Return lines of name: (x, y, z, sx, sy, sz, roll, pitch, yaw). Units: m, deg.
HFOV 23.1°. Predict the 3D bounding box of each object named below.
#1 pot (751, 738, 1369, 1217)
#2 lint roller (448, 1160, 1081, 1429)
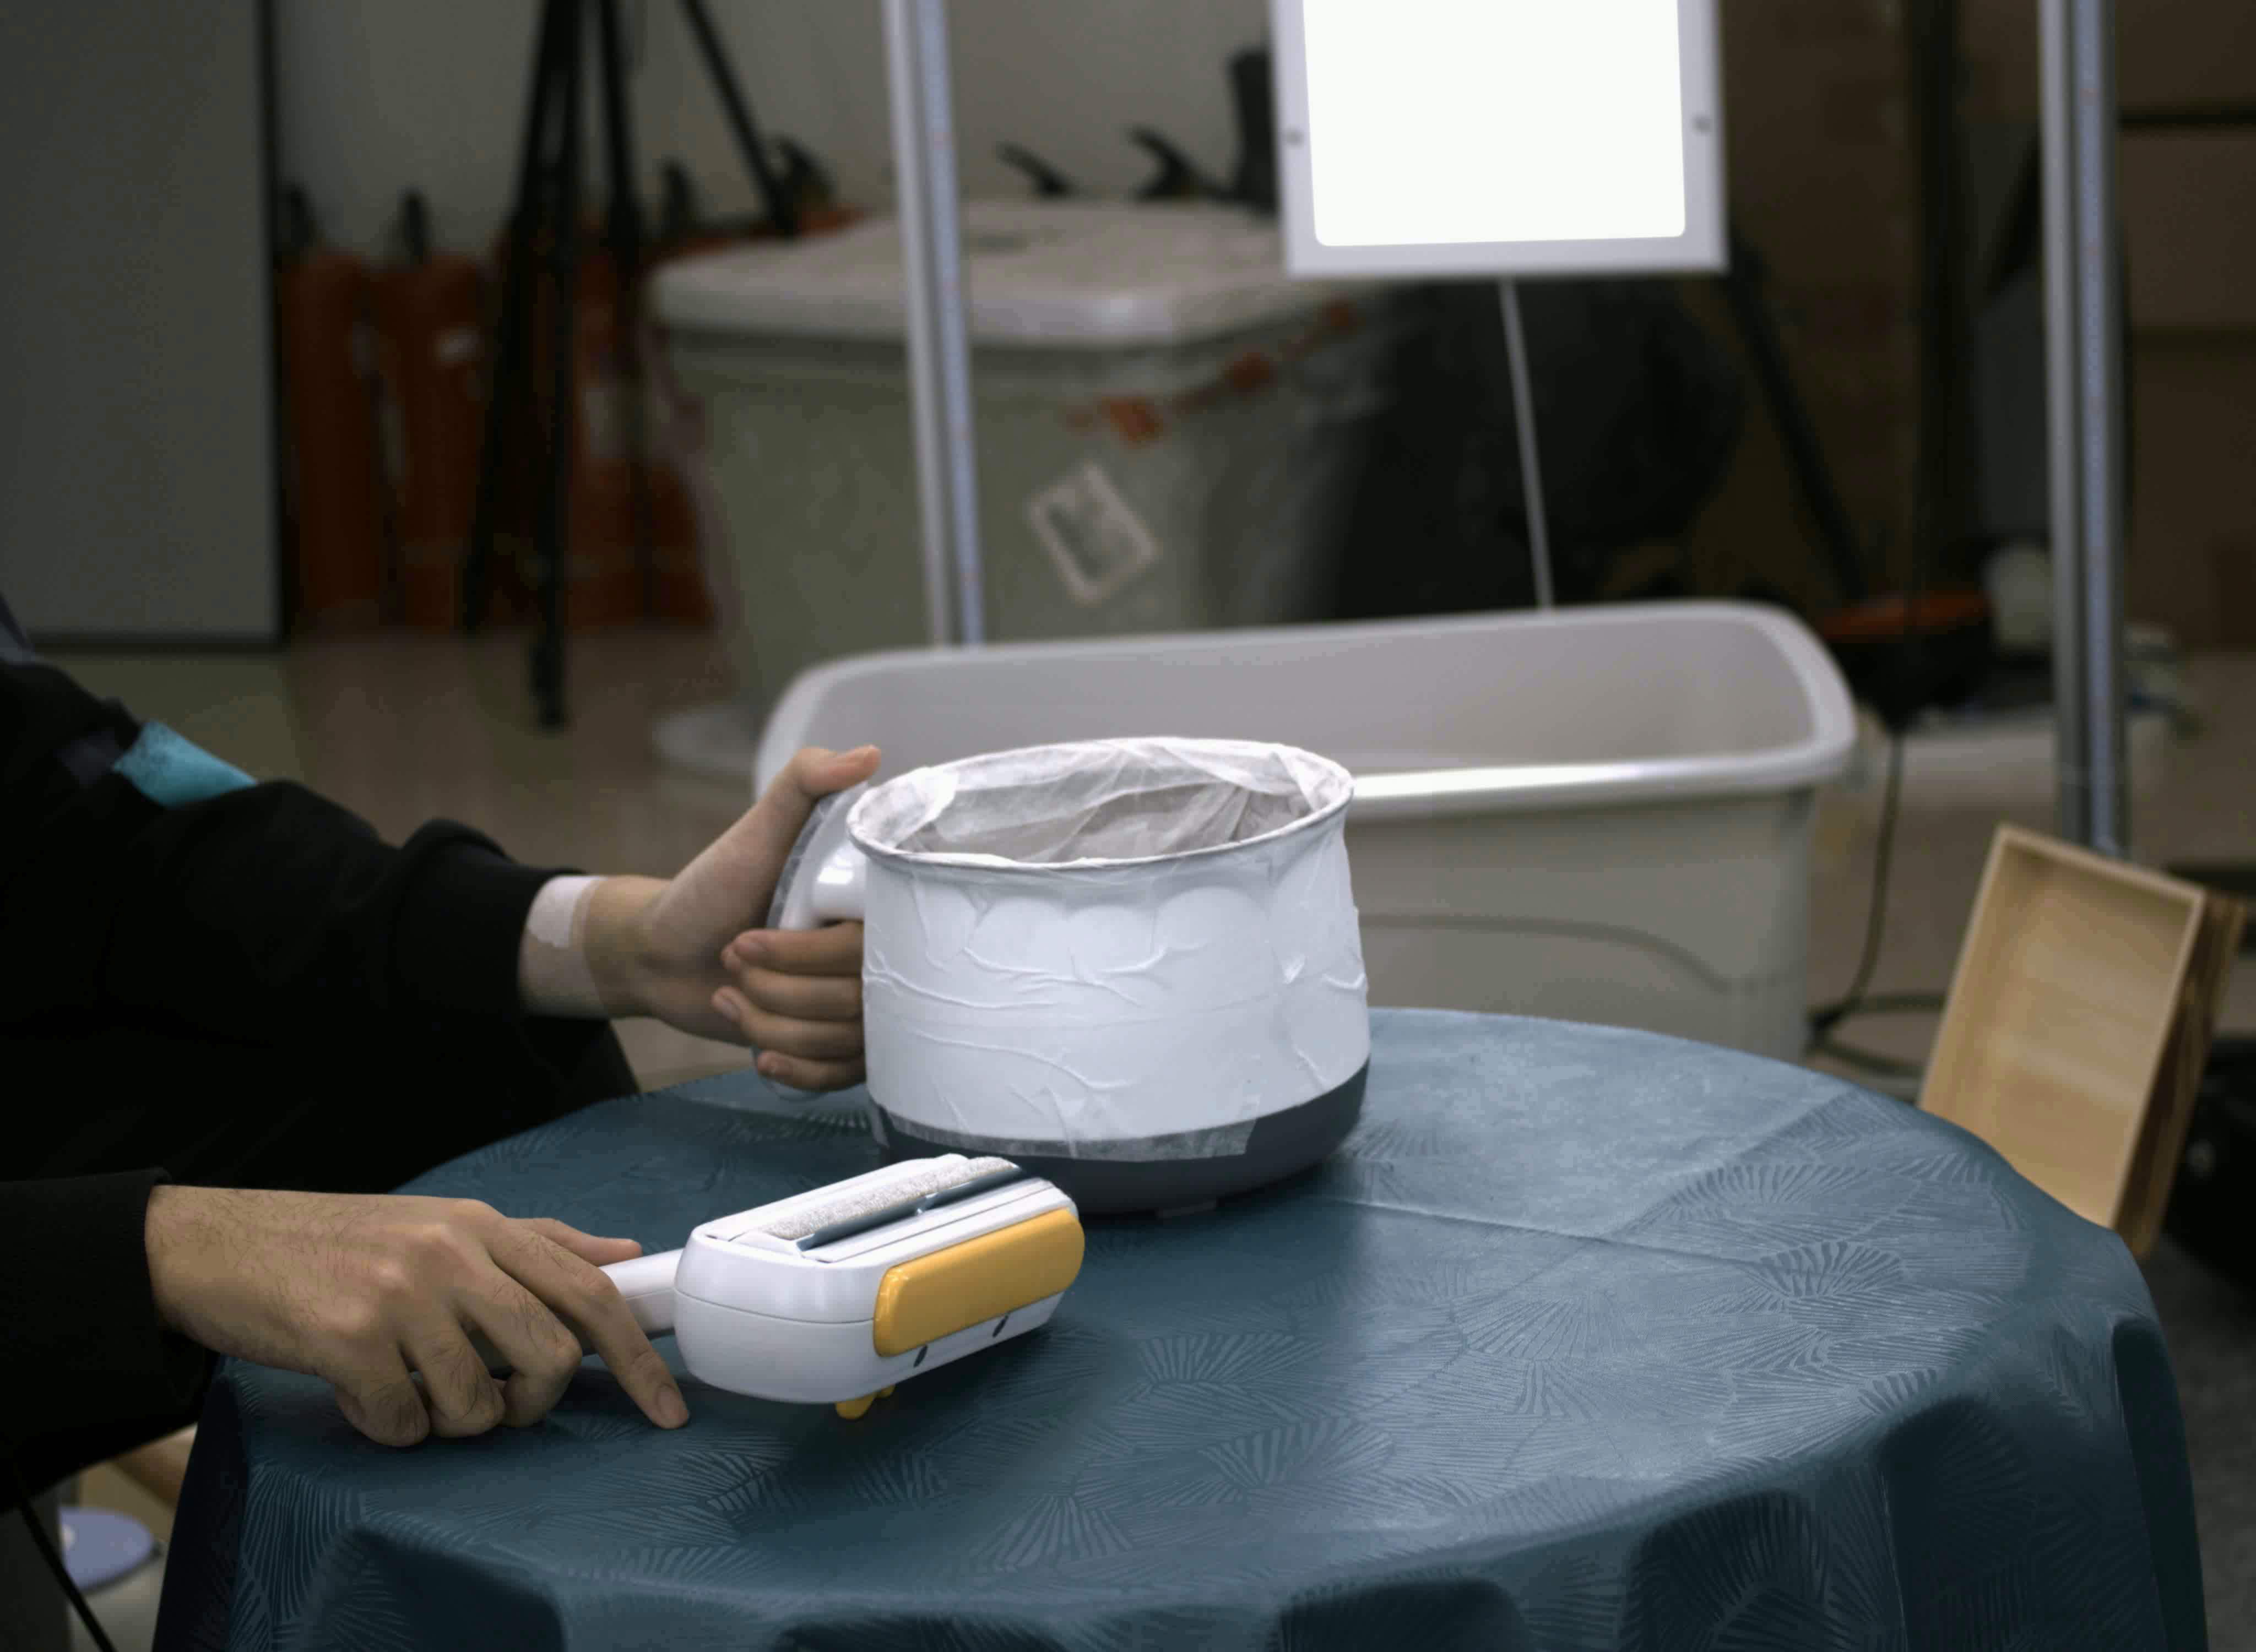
pot: (-0.030, 0.049, 1.926, 0.238, 0.137, 0.175, 4, 15, 28)
lint roller: (-0.130, 0.146, 1.724, 0.196, 0.074, 0.188, 1, 10, 29)
